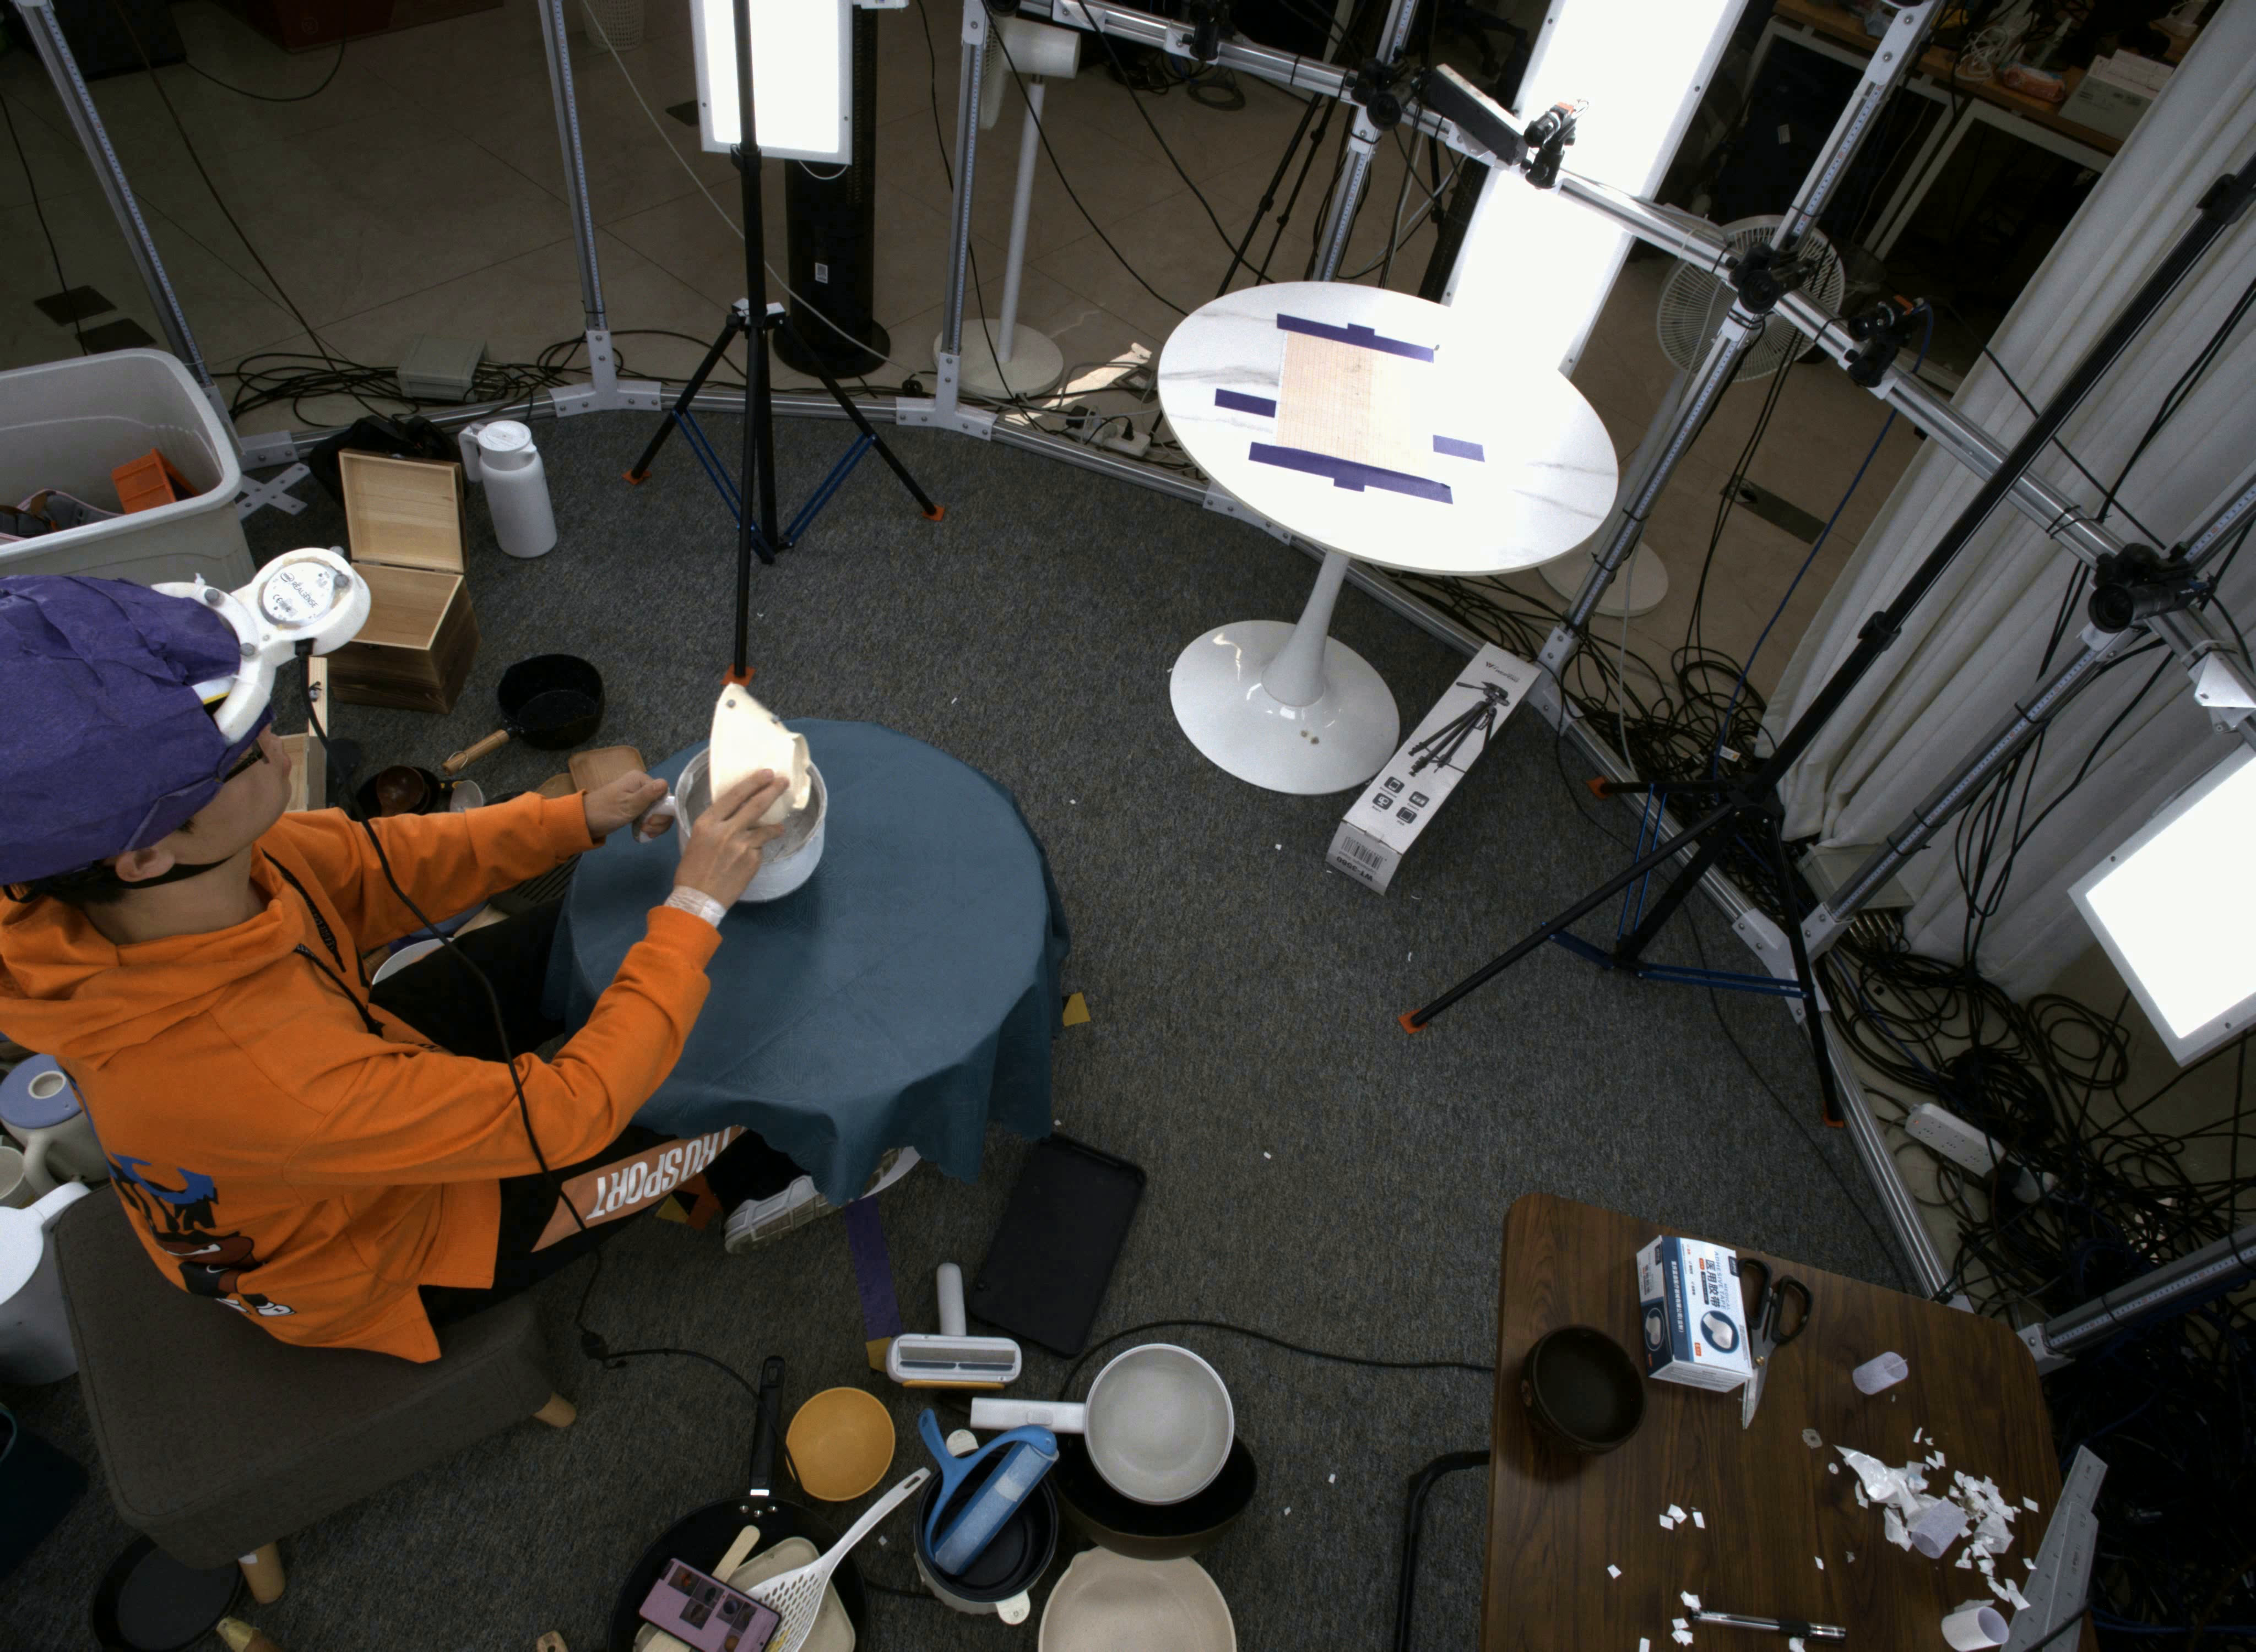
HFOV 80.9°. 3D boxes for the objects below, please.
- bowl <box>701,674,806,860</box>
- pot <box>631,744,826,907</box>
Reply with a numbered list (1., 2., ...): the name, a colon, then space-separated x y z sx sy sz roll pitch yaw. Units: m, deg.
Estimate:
1. bowl: -0.411 -0.069 1.453 0.077 0.210 0.200 -4 53 -1
2. pot: -0.485 -0.006 1.561 0.235 0.138 0.176 4 60 -16
